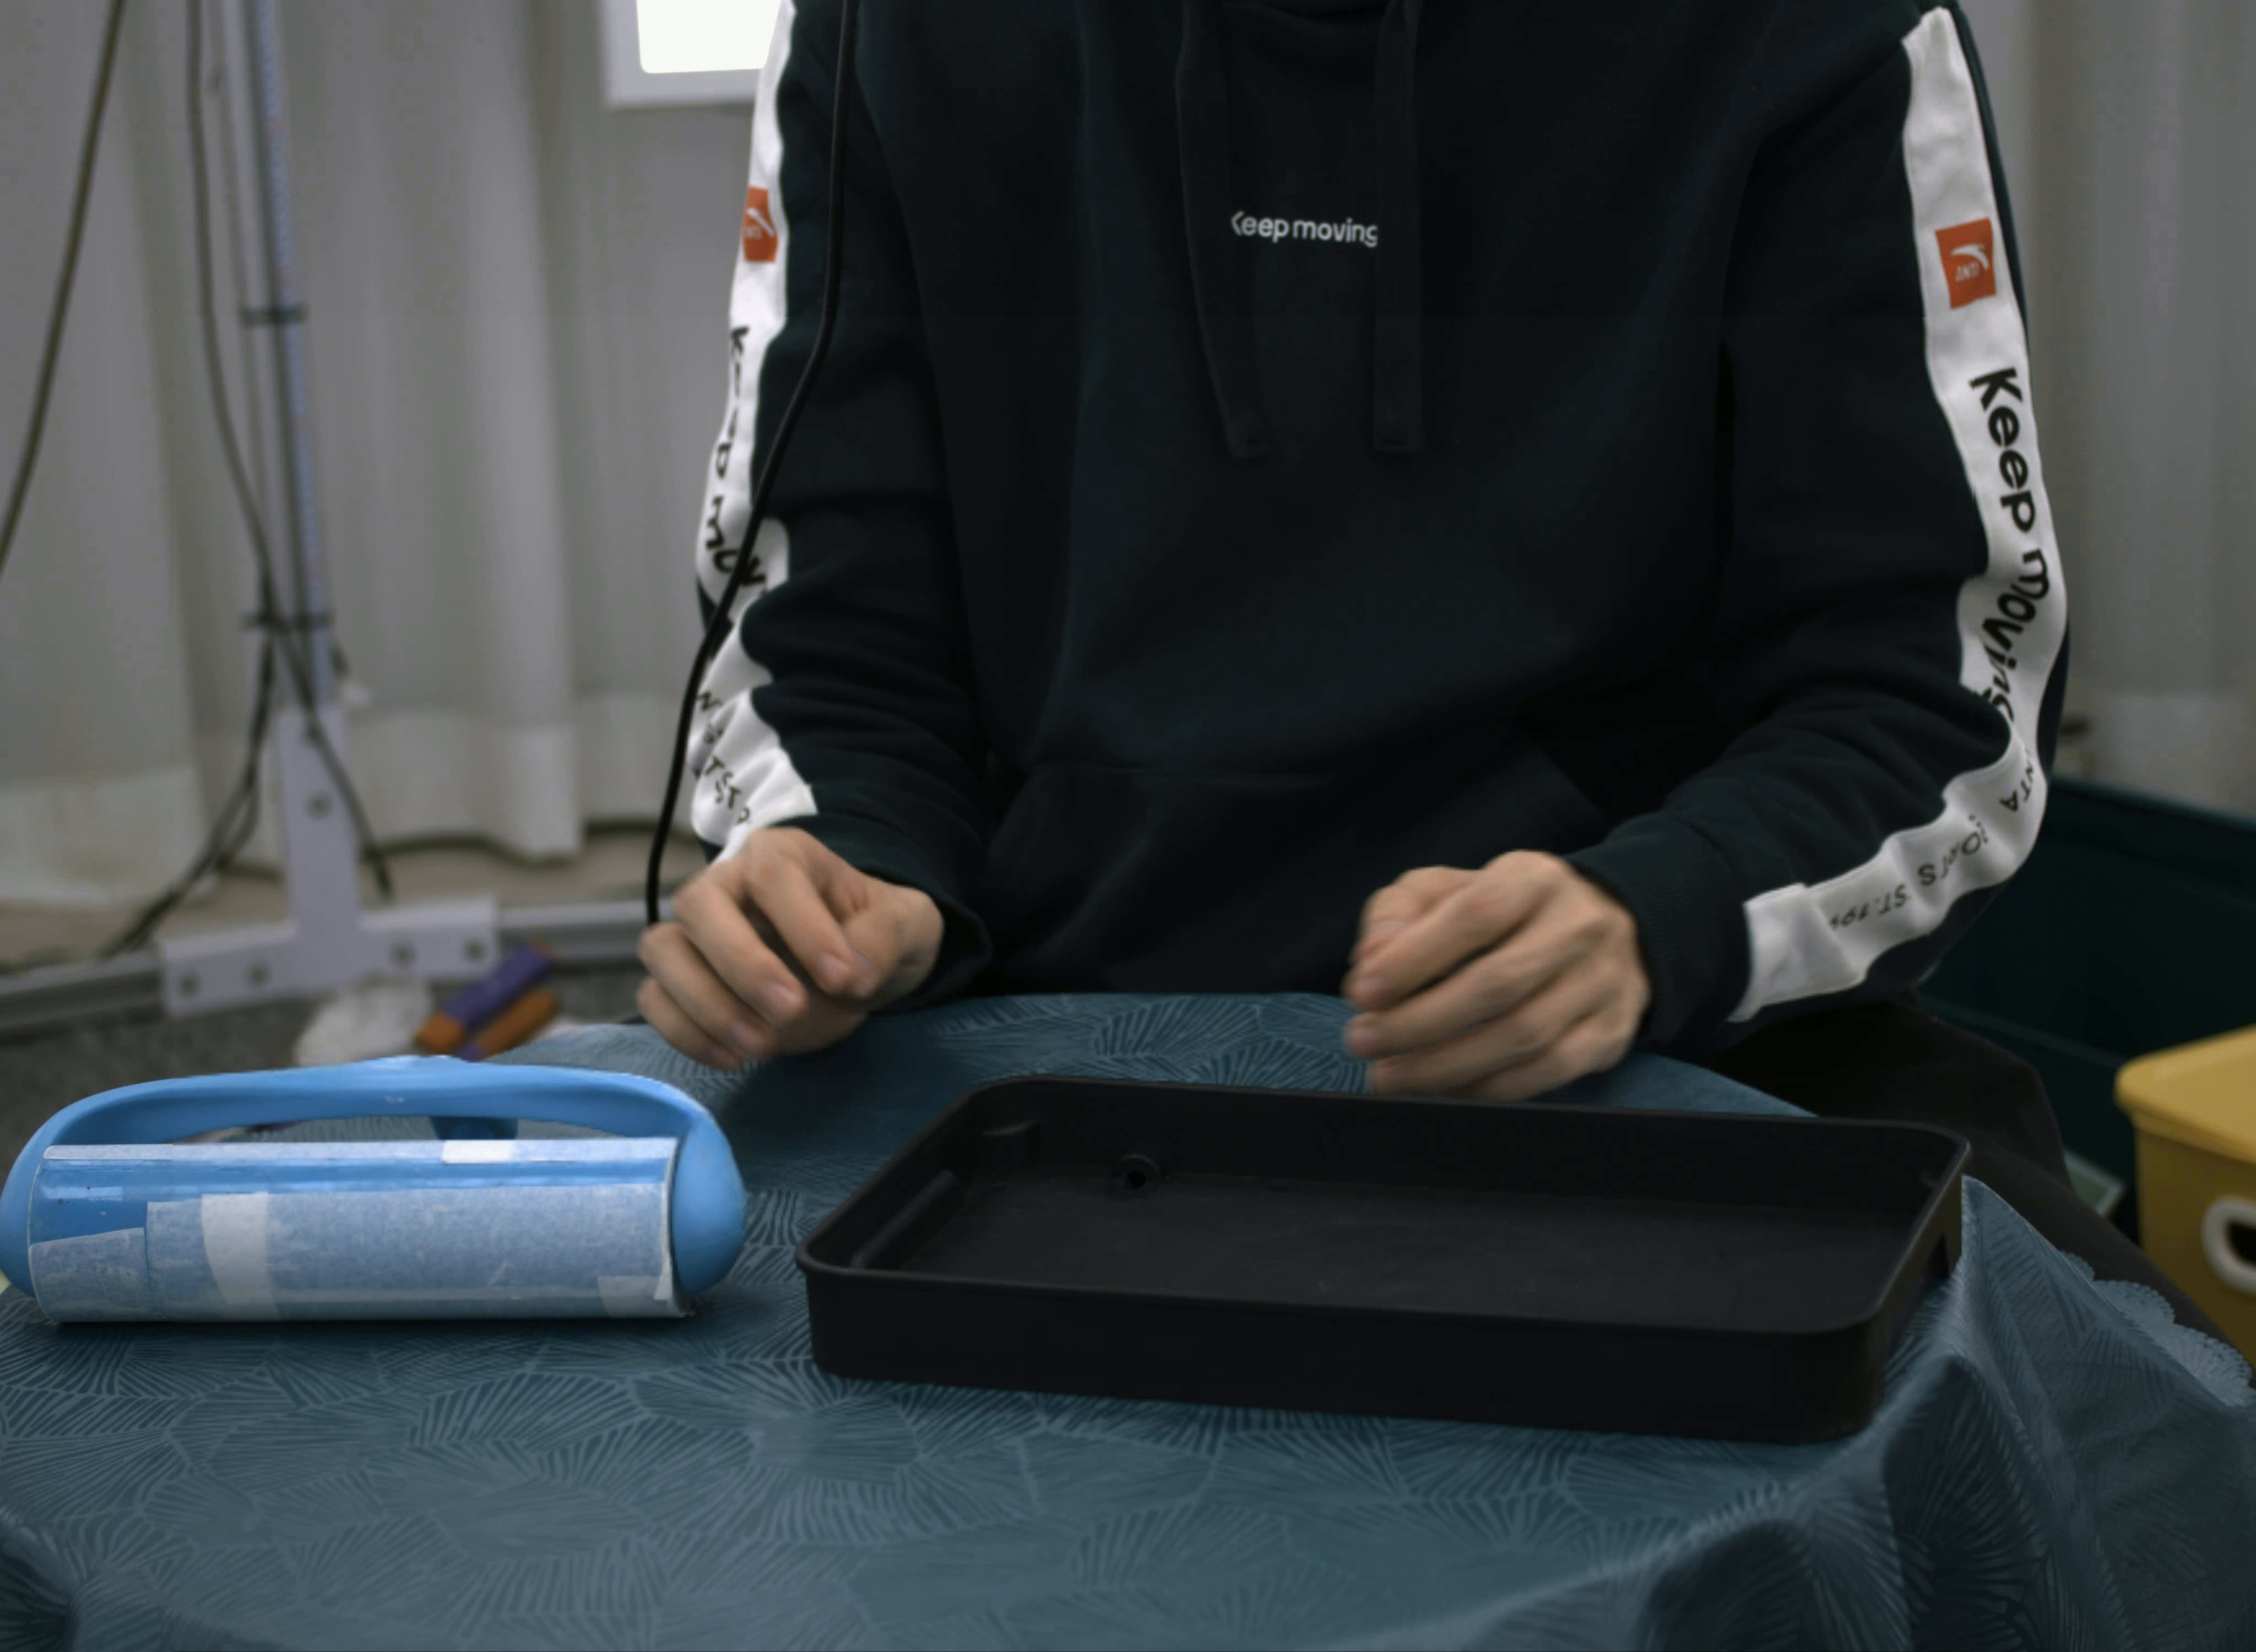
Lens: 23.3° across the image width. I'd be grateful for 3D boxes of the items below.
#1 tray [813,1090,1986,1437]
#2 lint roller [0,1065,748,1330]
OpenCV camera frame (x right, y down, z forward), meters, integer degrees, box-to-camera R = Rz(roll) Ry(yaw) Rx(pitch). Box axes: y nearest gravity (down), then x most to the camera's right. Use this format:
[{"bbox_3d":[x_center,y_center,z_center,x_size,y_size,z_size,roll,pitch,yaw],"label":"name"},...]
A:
[{"bbox_3d":[0.082,0.125,1.596,0.318,0.037,0.185,0,15,18],"label":"tray"},{"bbox_3d":[-0.223,0.104,1.689,0.228,0.067,0.181,-3,16,5],"label":"lint roller"}]
